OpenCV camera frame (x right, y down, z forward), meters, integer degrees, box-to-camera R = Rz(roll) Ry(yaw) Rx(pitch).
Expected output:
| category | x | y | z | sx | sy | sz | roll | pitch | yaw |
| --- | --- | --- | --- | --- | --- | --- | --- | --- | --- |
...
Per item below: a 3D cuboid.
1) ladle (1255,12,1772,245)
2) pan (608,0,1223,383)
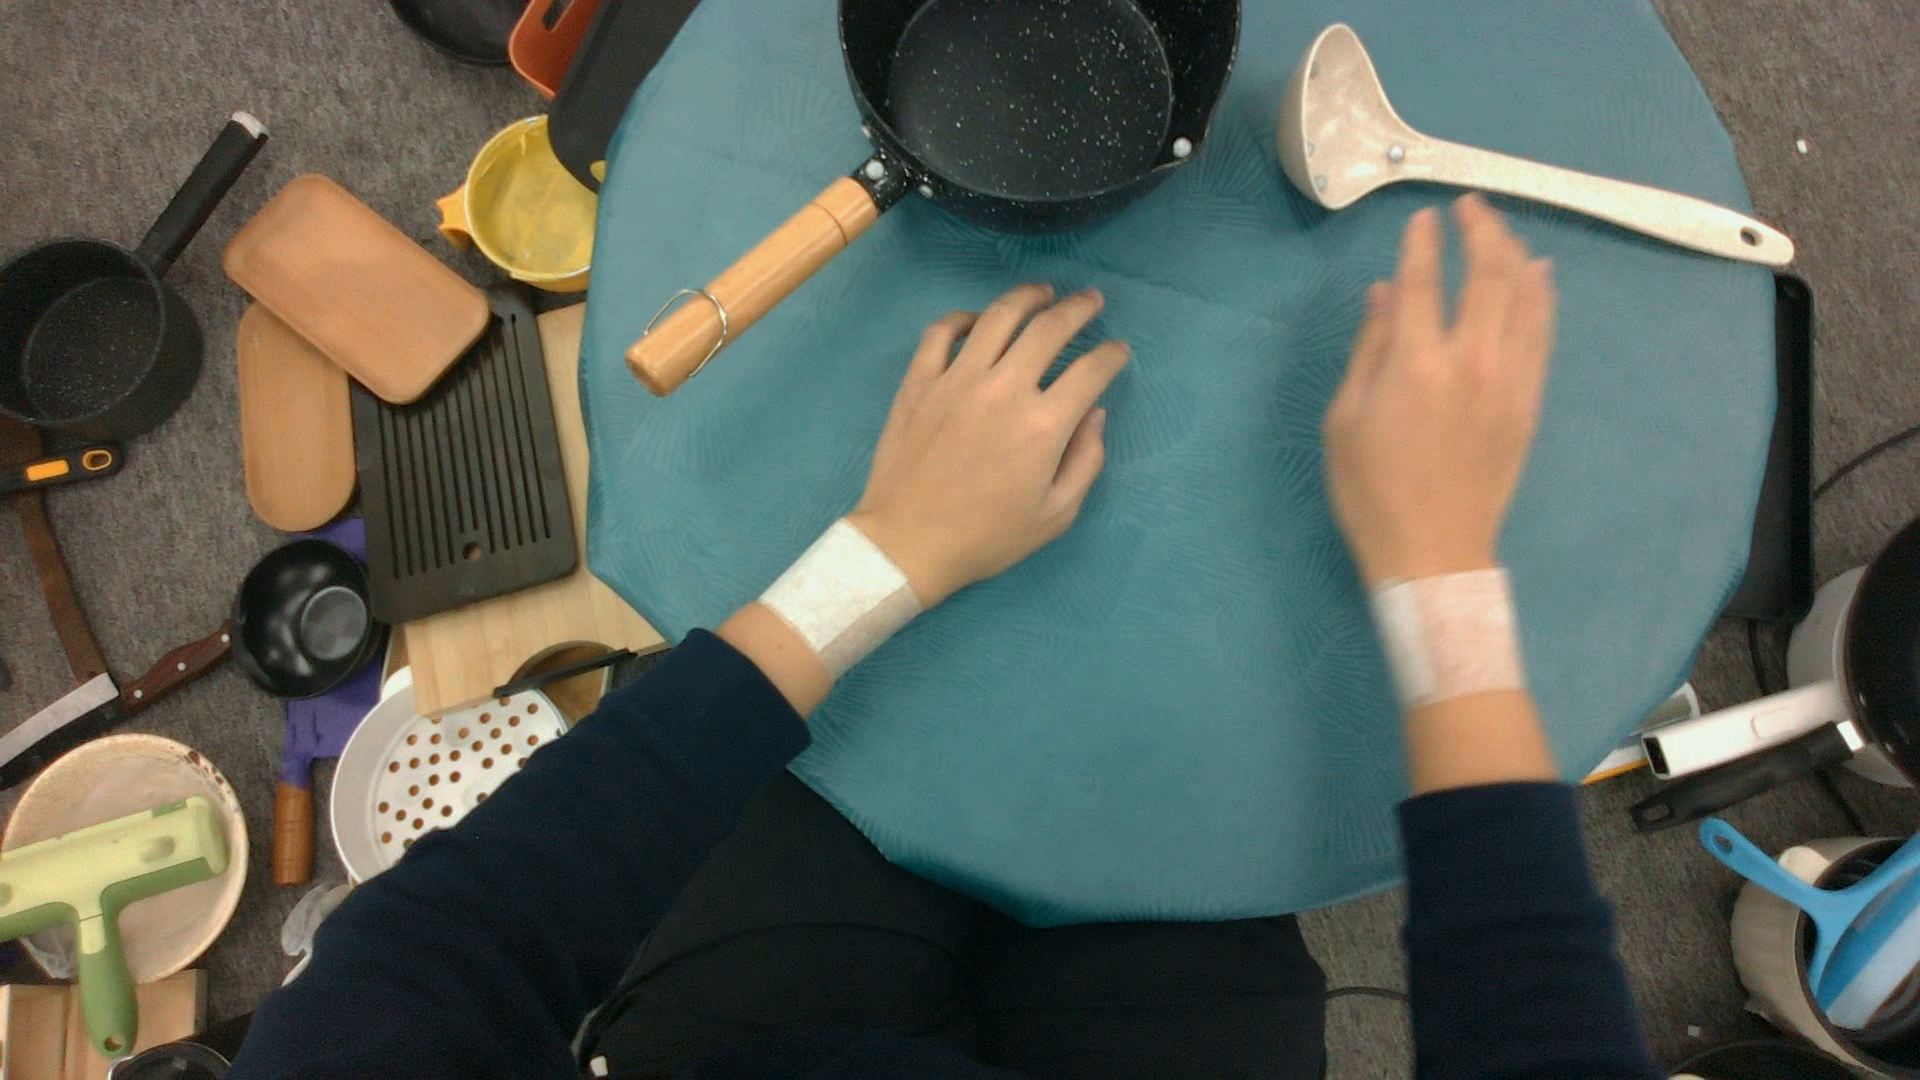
| category | x | y | z | sx | sy | sz | roll | pitch | yaw |
| --- | --- | --- | --- | --- | --- | --- | --- | --- | --- |
| ladle | 0.280 | -0.192 | 0.674 | 0.275 | 0.069 | 0.089 | 12 | 75 | 1 |
| pan | -0.026 | -0.186 | 0.649 | 0.207 | 0.108 | 0.343 | 42 | 81 | 5 |
